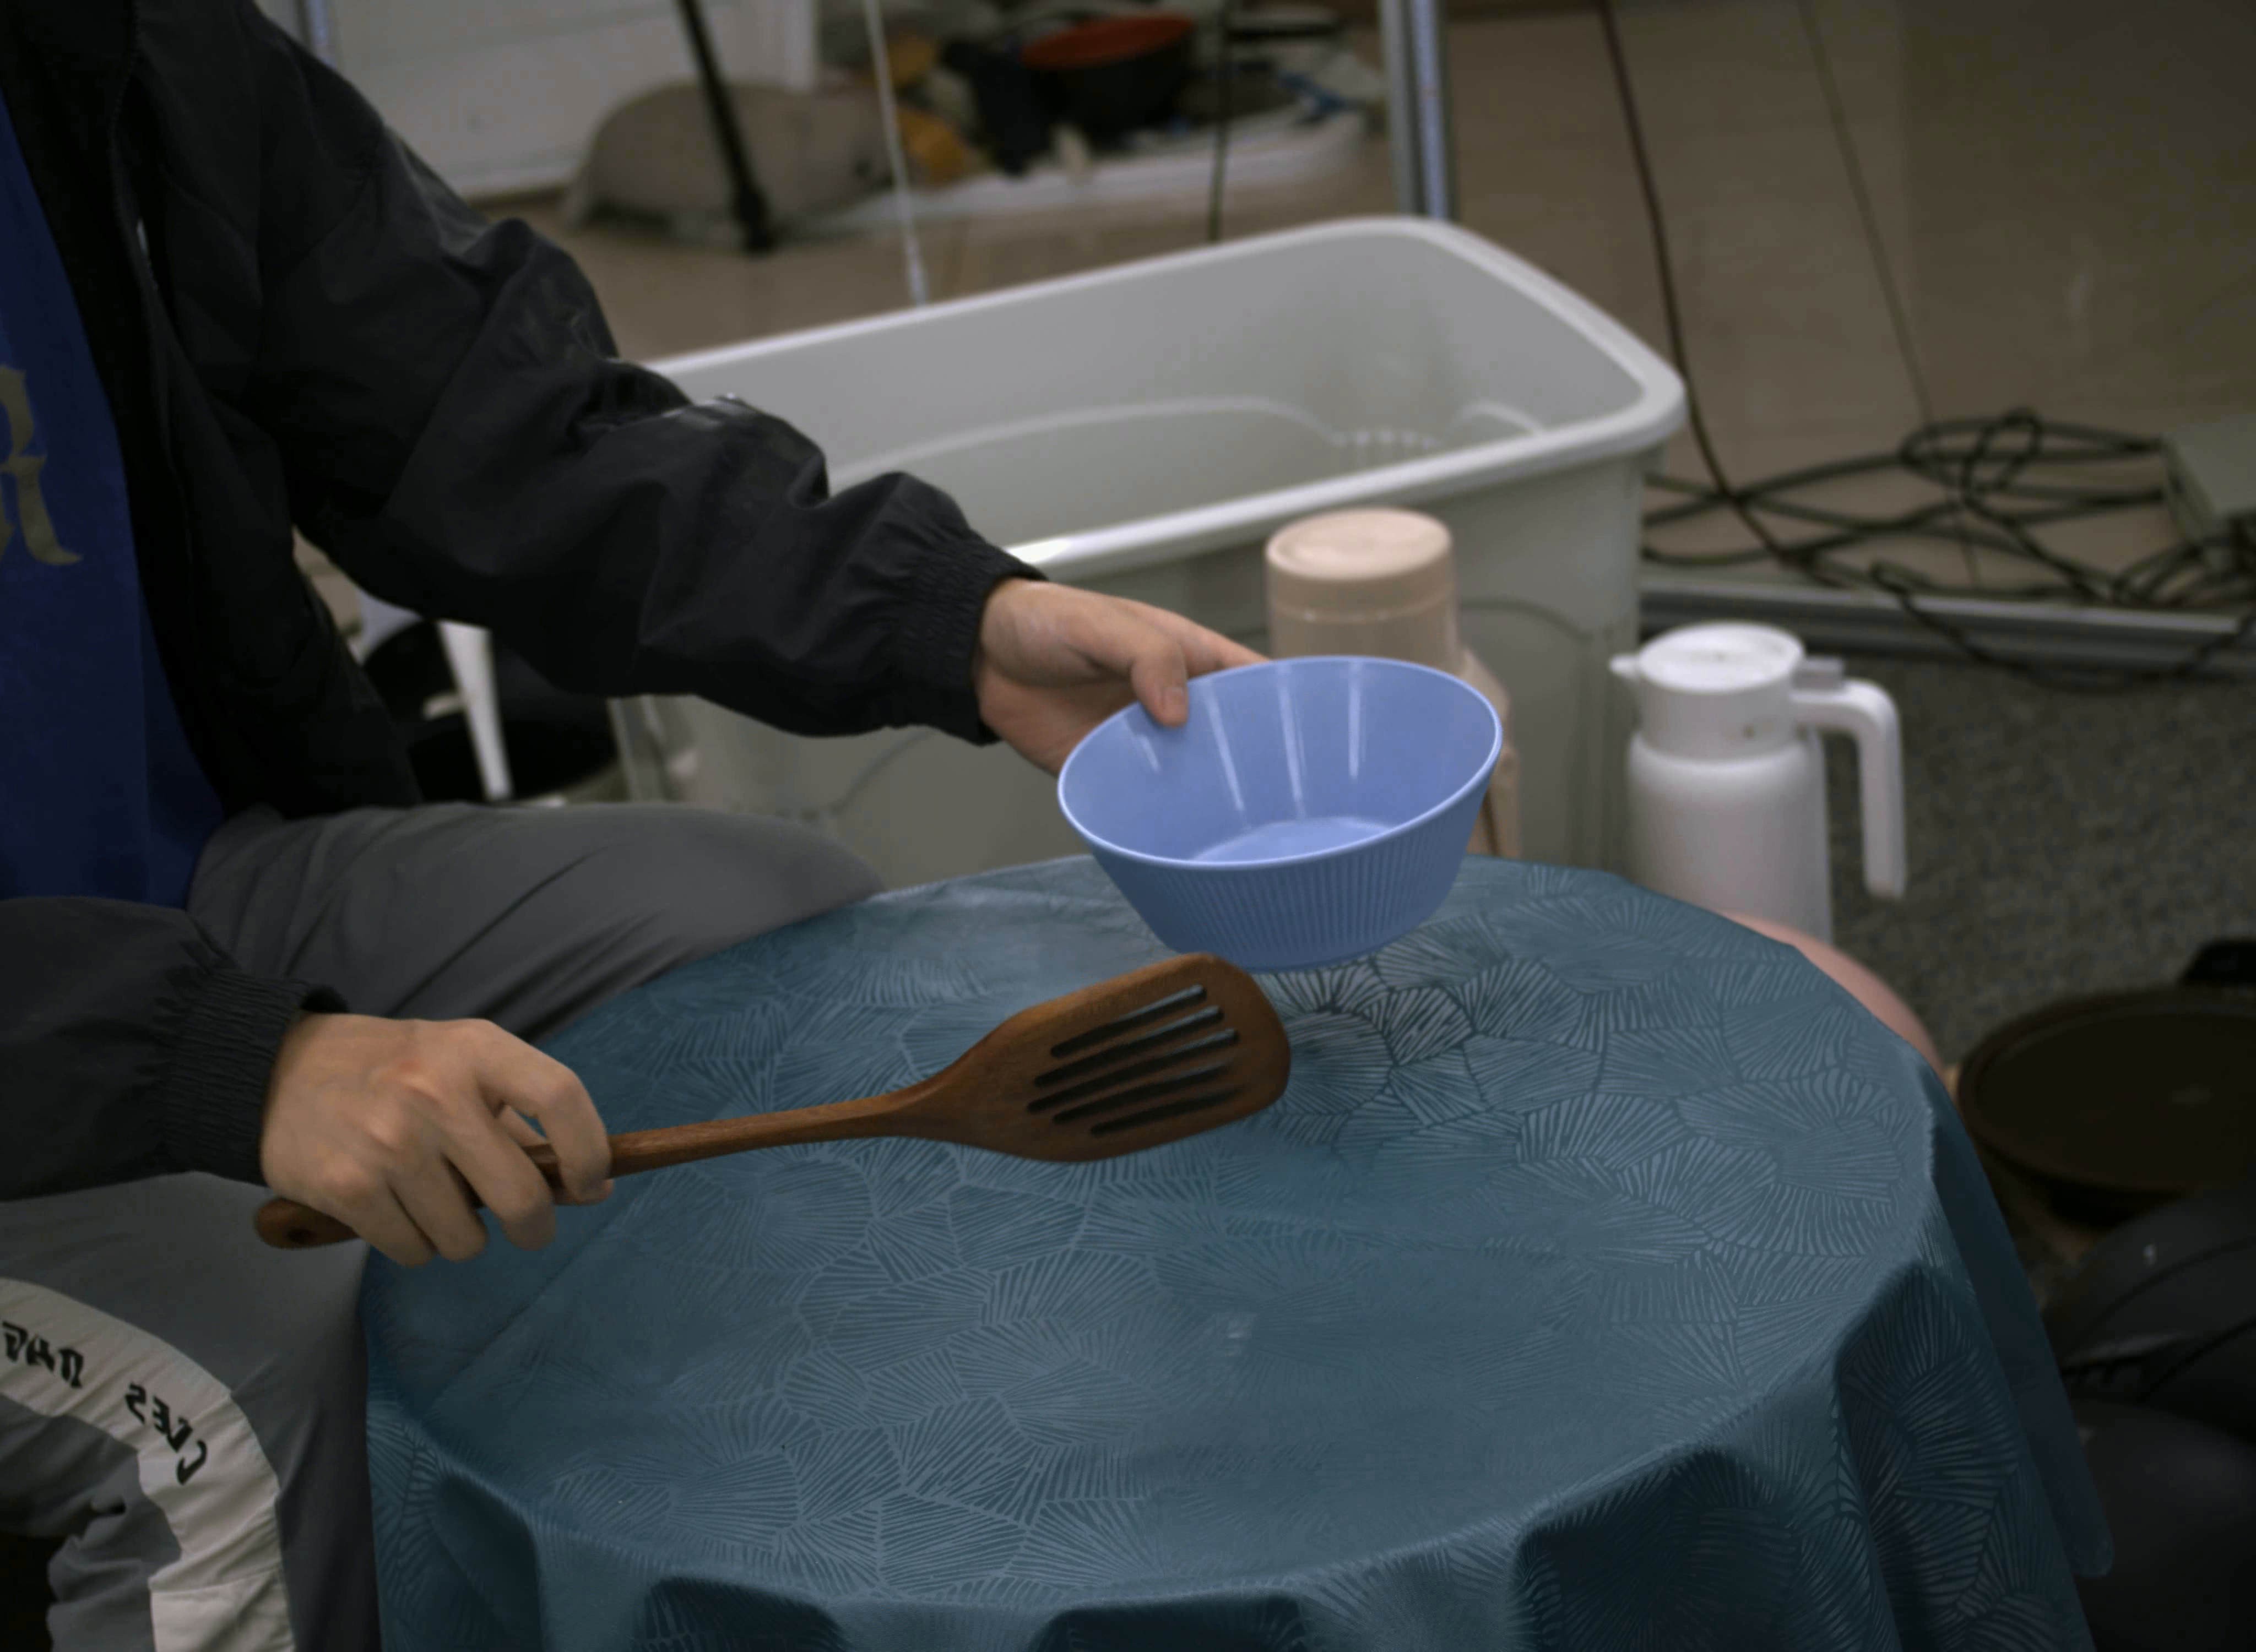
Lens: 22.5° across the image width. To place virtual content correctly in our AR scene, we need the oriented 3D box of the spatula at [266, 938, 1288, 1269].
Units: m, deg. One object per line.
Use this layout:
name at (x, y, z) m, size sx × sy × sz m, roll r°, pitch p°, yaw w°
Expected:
spatula at (-0.131, 0.110, 1.997) m, size 0.387 × 0.087 × 0.023 m, roll -13°, pitch 45°, yaw 17°

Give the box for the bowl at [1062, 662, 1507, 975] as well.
bowl at (0.066, 0.003, 2.217) m, size 0.176 × 0.071 × 0.173 m, roll -9°, pitch 25°, yaw 4°
